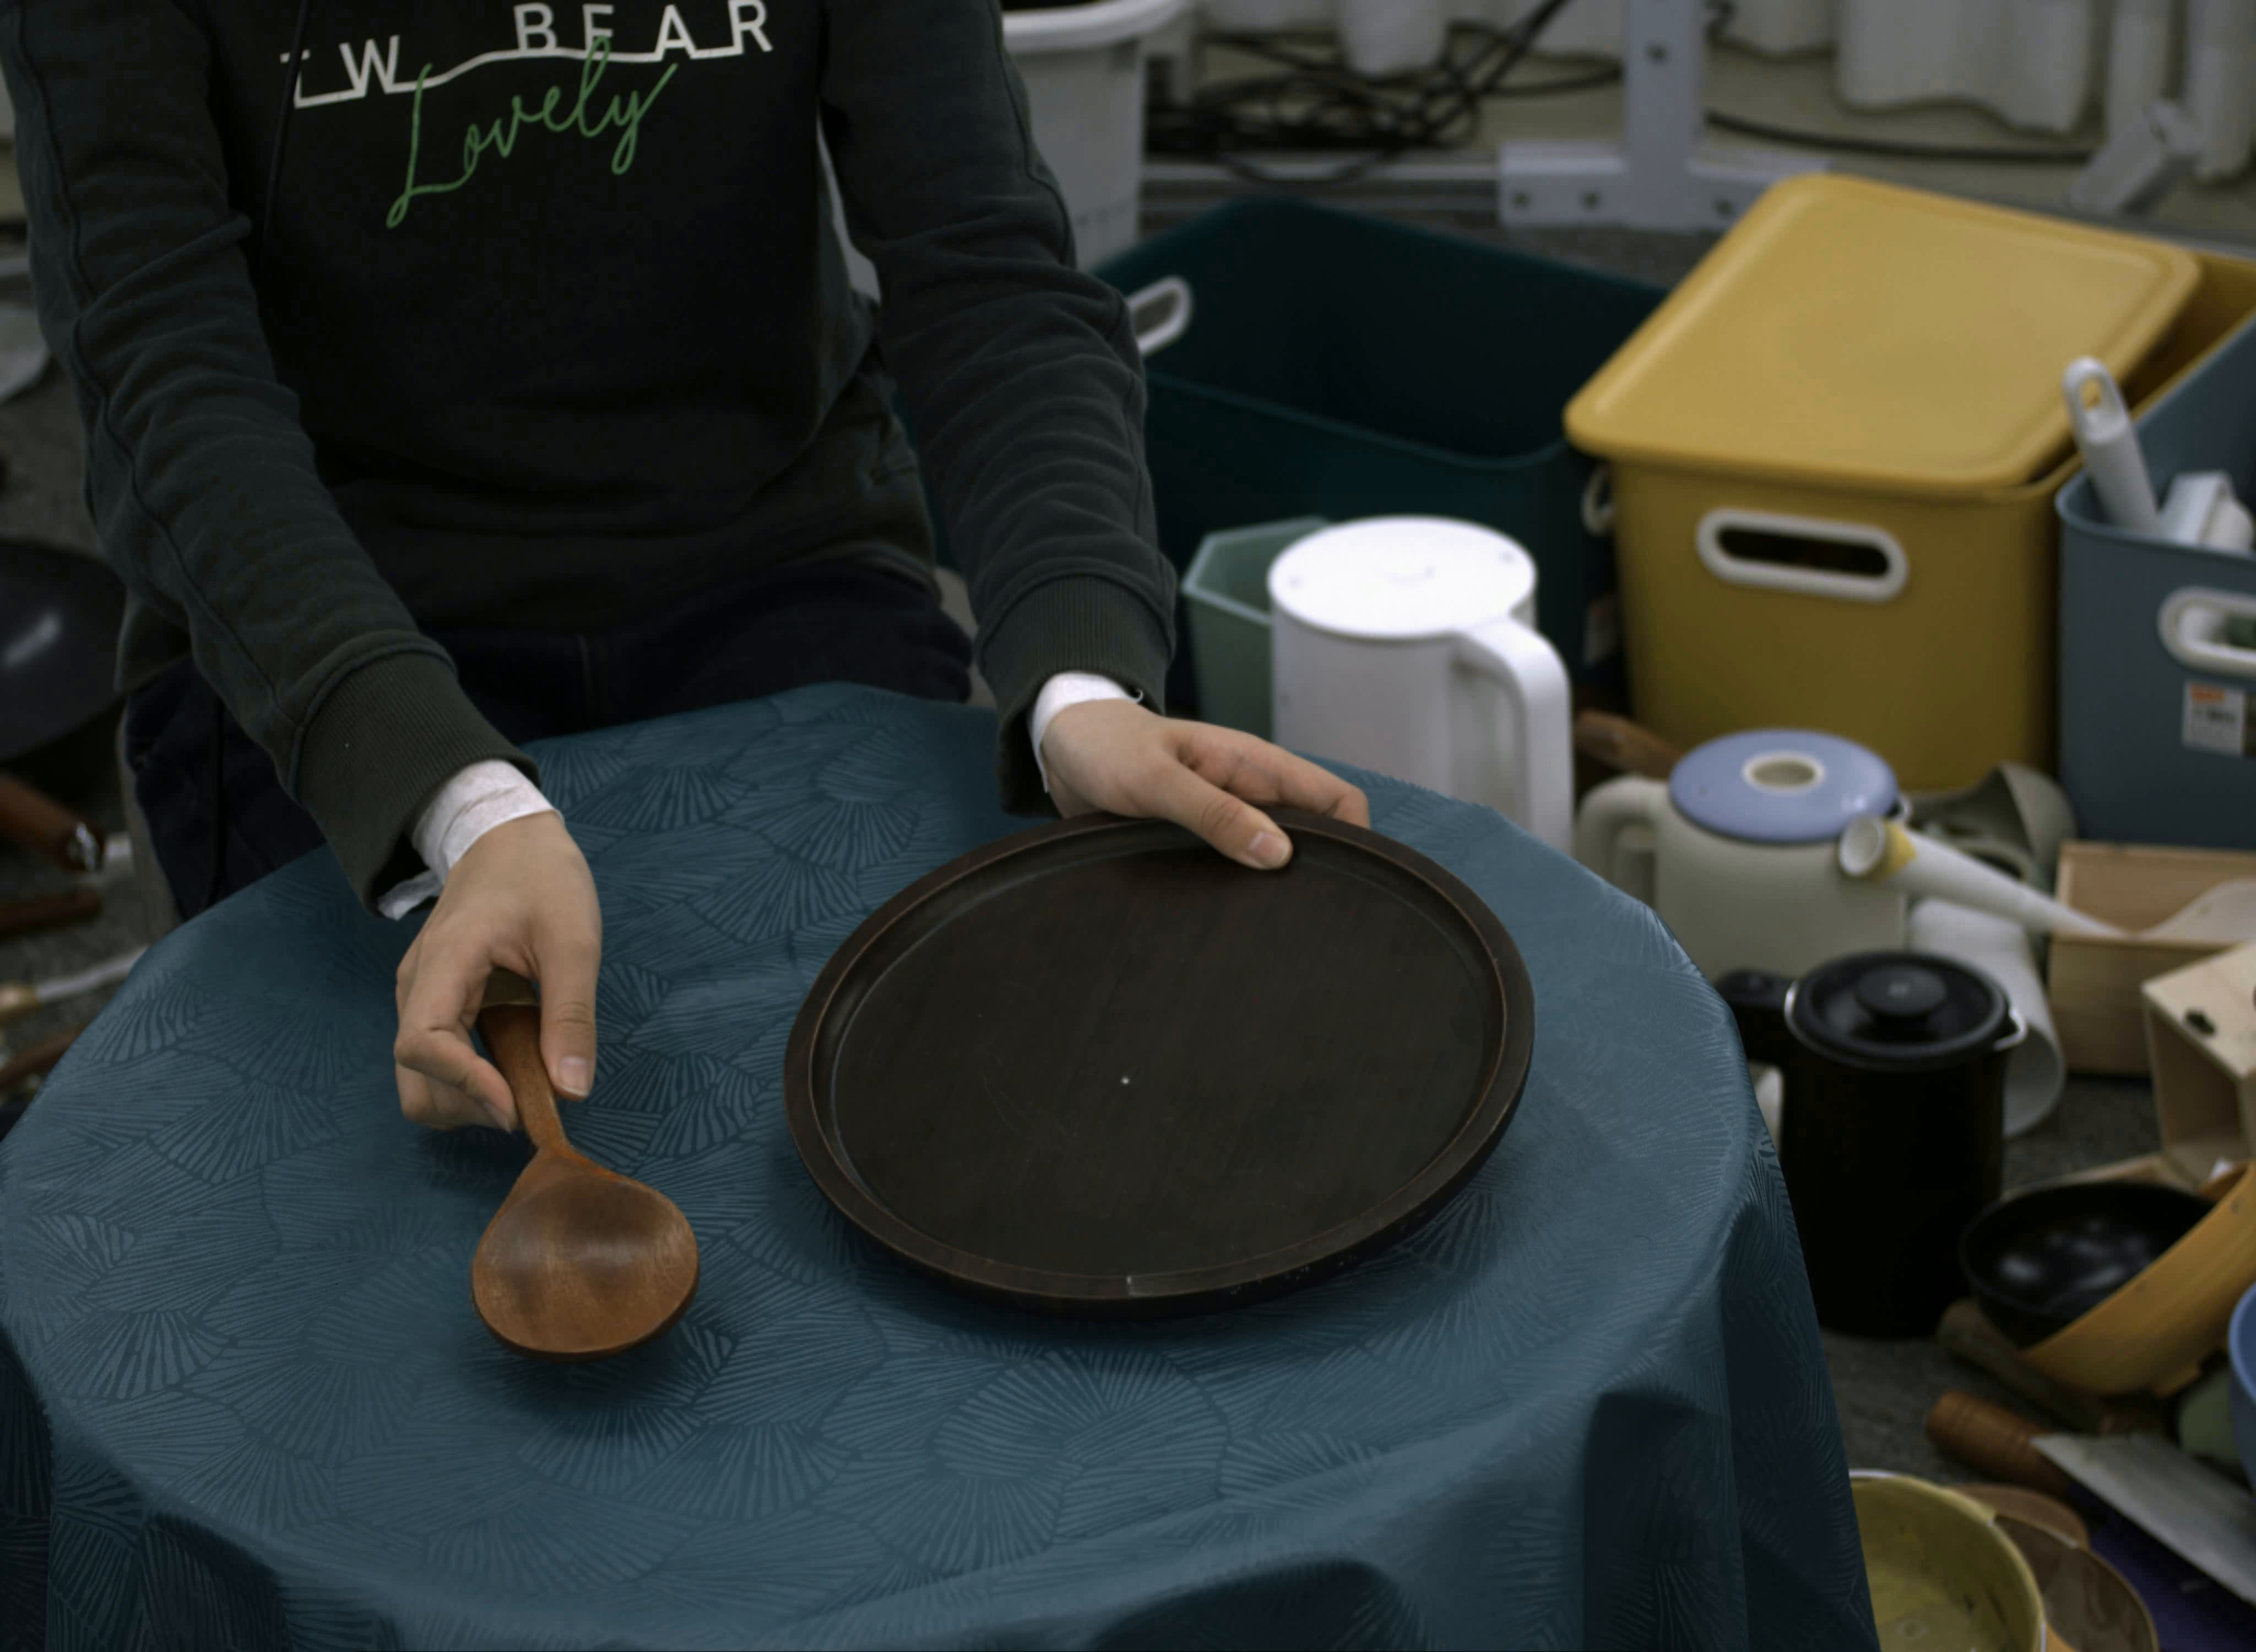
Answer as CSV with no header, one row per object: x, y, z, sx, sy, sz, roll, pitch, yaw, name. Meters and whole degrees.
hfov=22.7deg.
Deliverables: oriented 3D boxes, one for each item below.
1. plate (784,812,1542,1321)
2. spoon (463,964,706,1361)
0.012,0.078,1.870,0.253,0.028,0.259,-3,38,3,plate
-0.188,0.110,1.837,0.075,0.017,0.218,-15,35,-8,spoon
